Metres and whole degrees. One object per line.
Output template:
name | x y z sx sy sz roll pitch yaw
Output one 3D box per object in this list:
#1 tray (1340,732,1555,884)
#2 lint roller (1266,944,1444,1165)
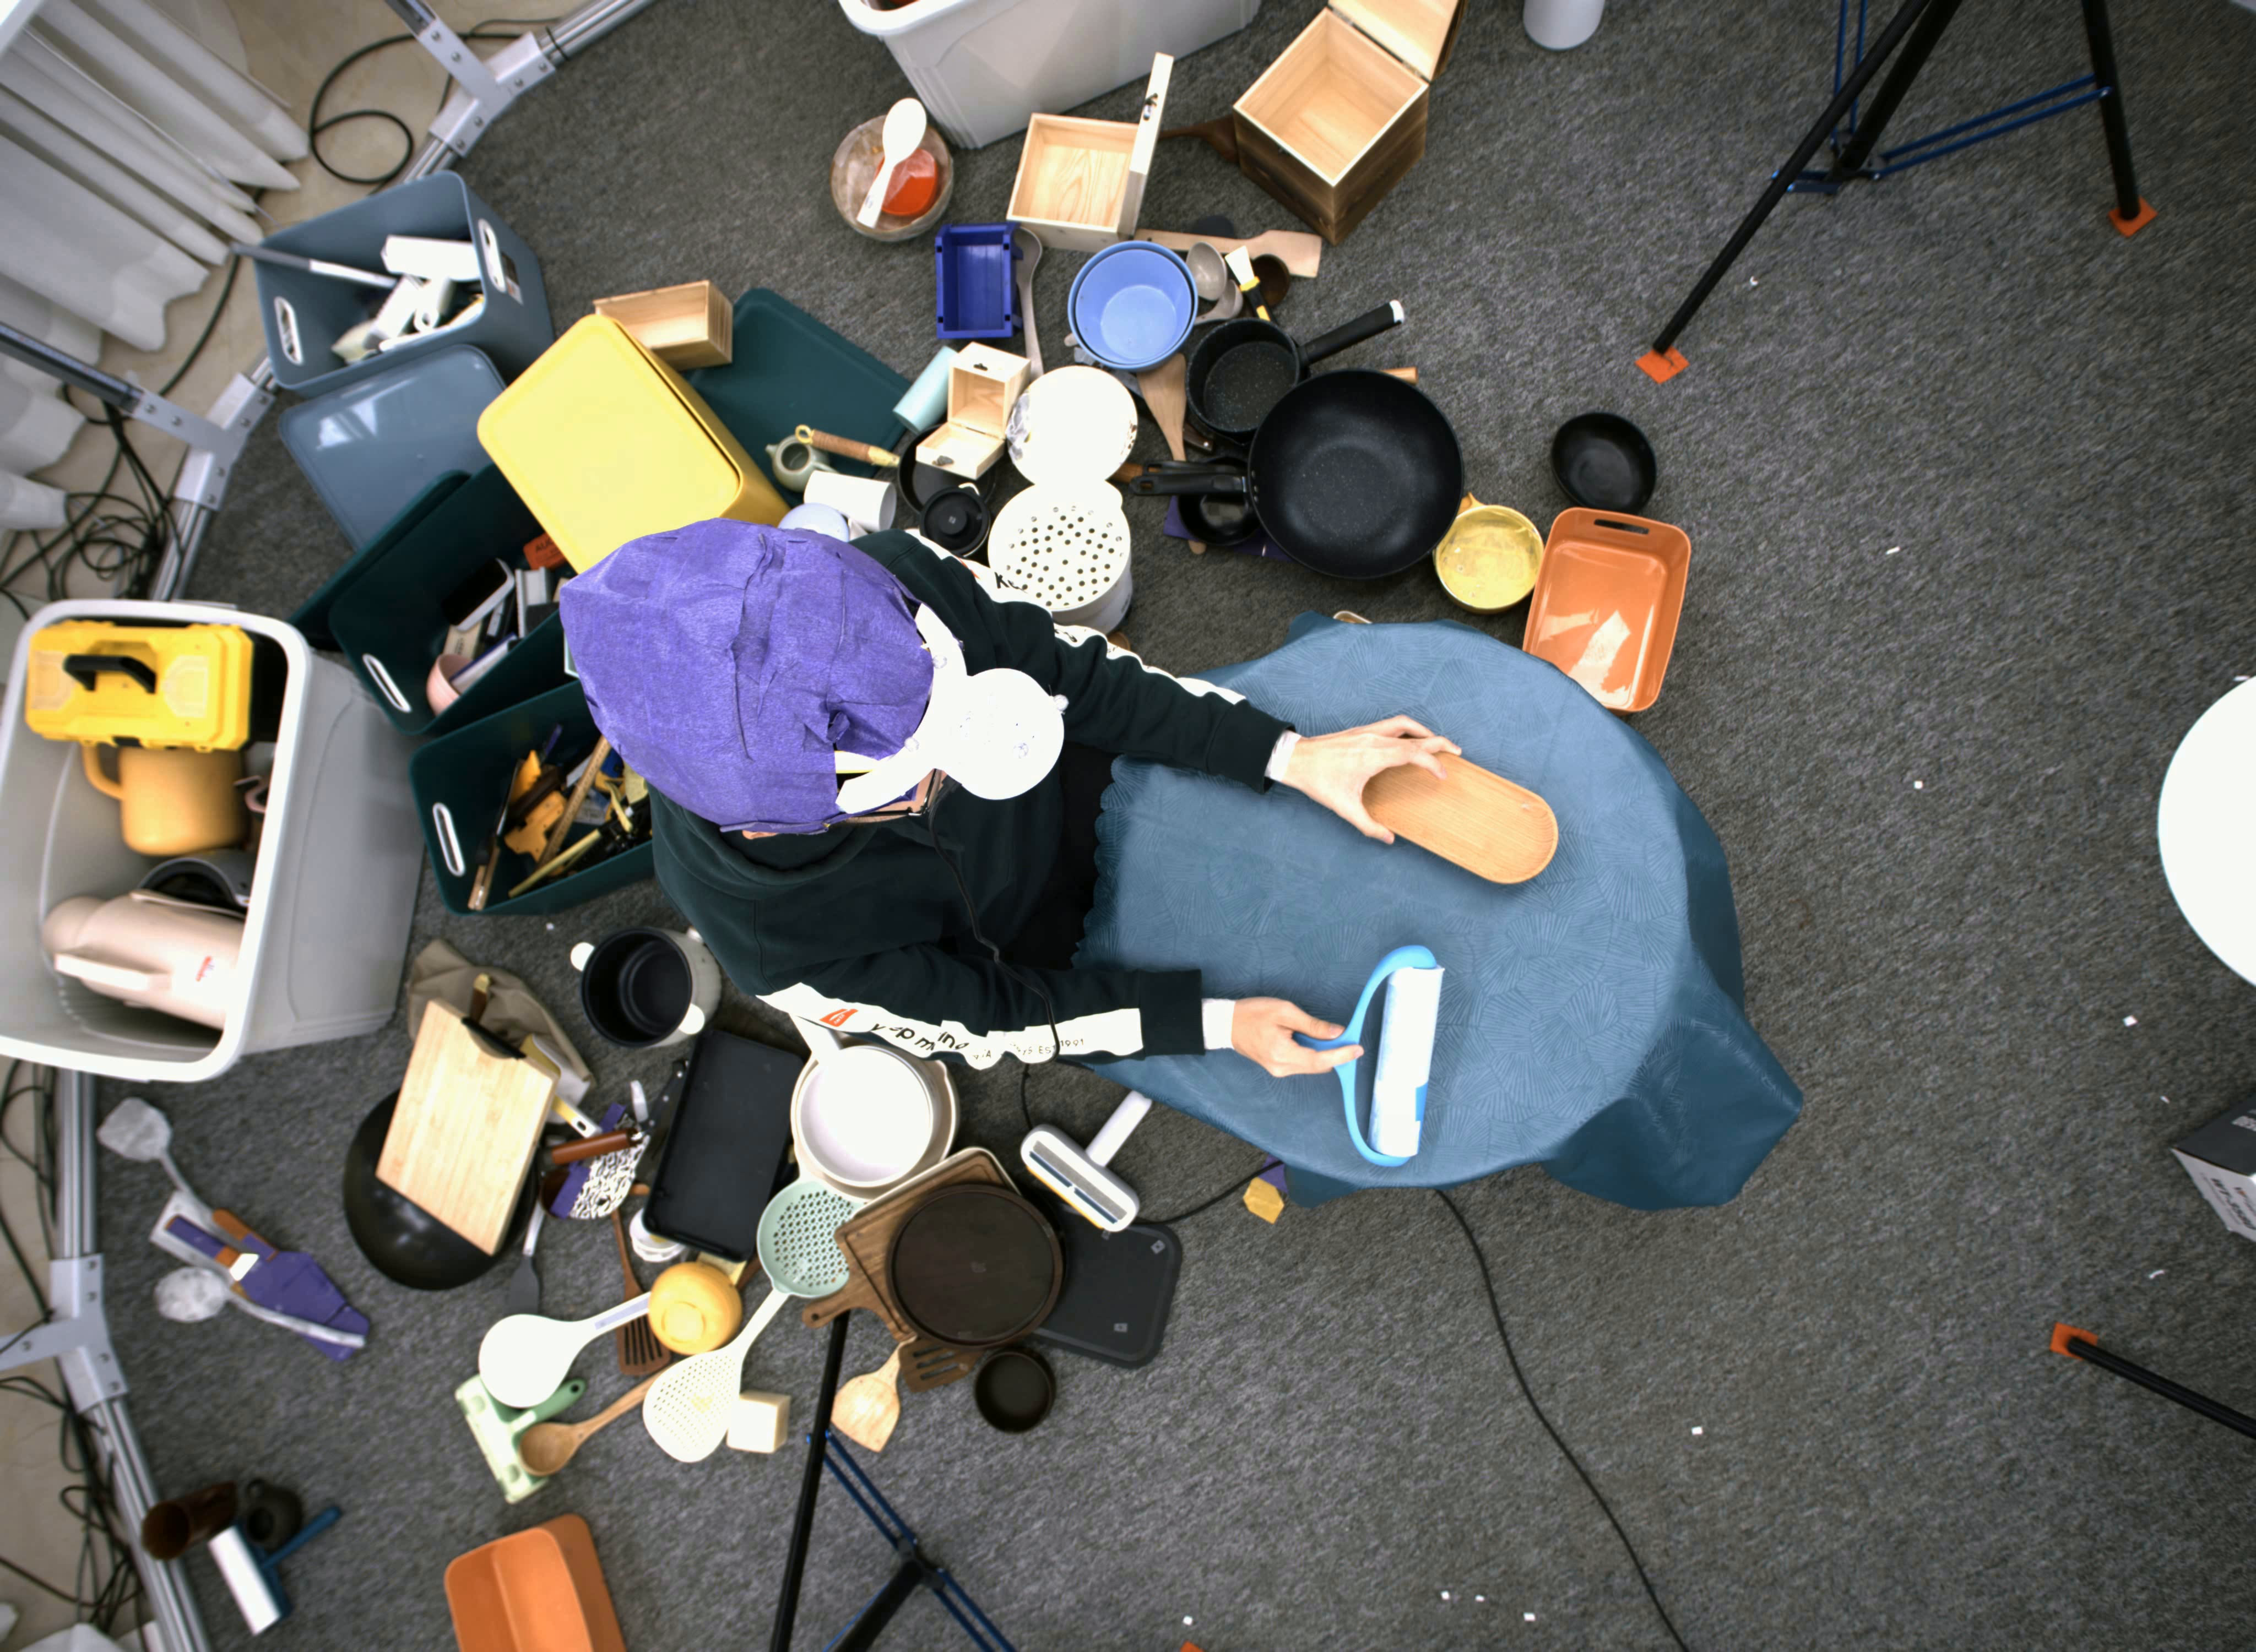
tray | 0.327 -0.021 1.415 0.230 0.020 0.101 27 89 22
lint roller | 0.224 0.226 1.411 0.181 0.067 0.231 5 102 17
